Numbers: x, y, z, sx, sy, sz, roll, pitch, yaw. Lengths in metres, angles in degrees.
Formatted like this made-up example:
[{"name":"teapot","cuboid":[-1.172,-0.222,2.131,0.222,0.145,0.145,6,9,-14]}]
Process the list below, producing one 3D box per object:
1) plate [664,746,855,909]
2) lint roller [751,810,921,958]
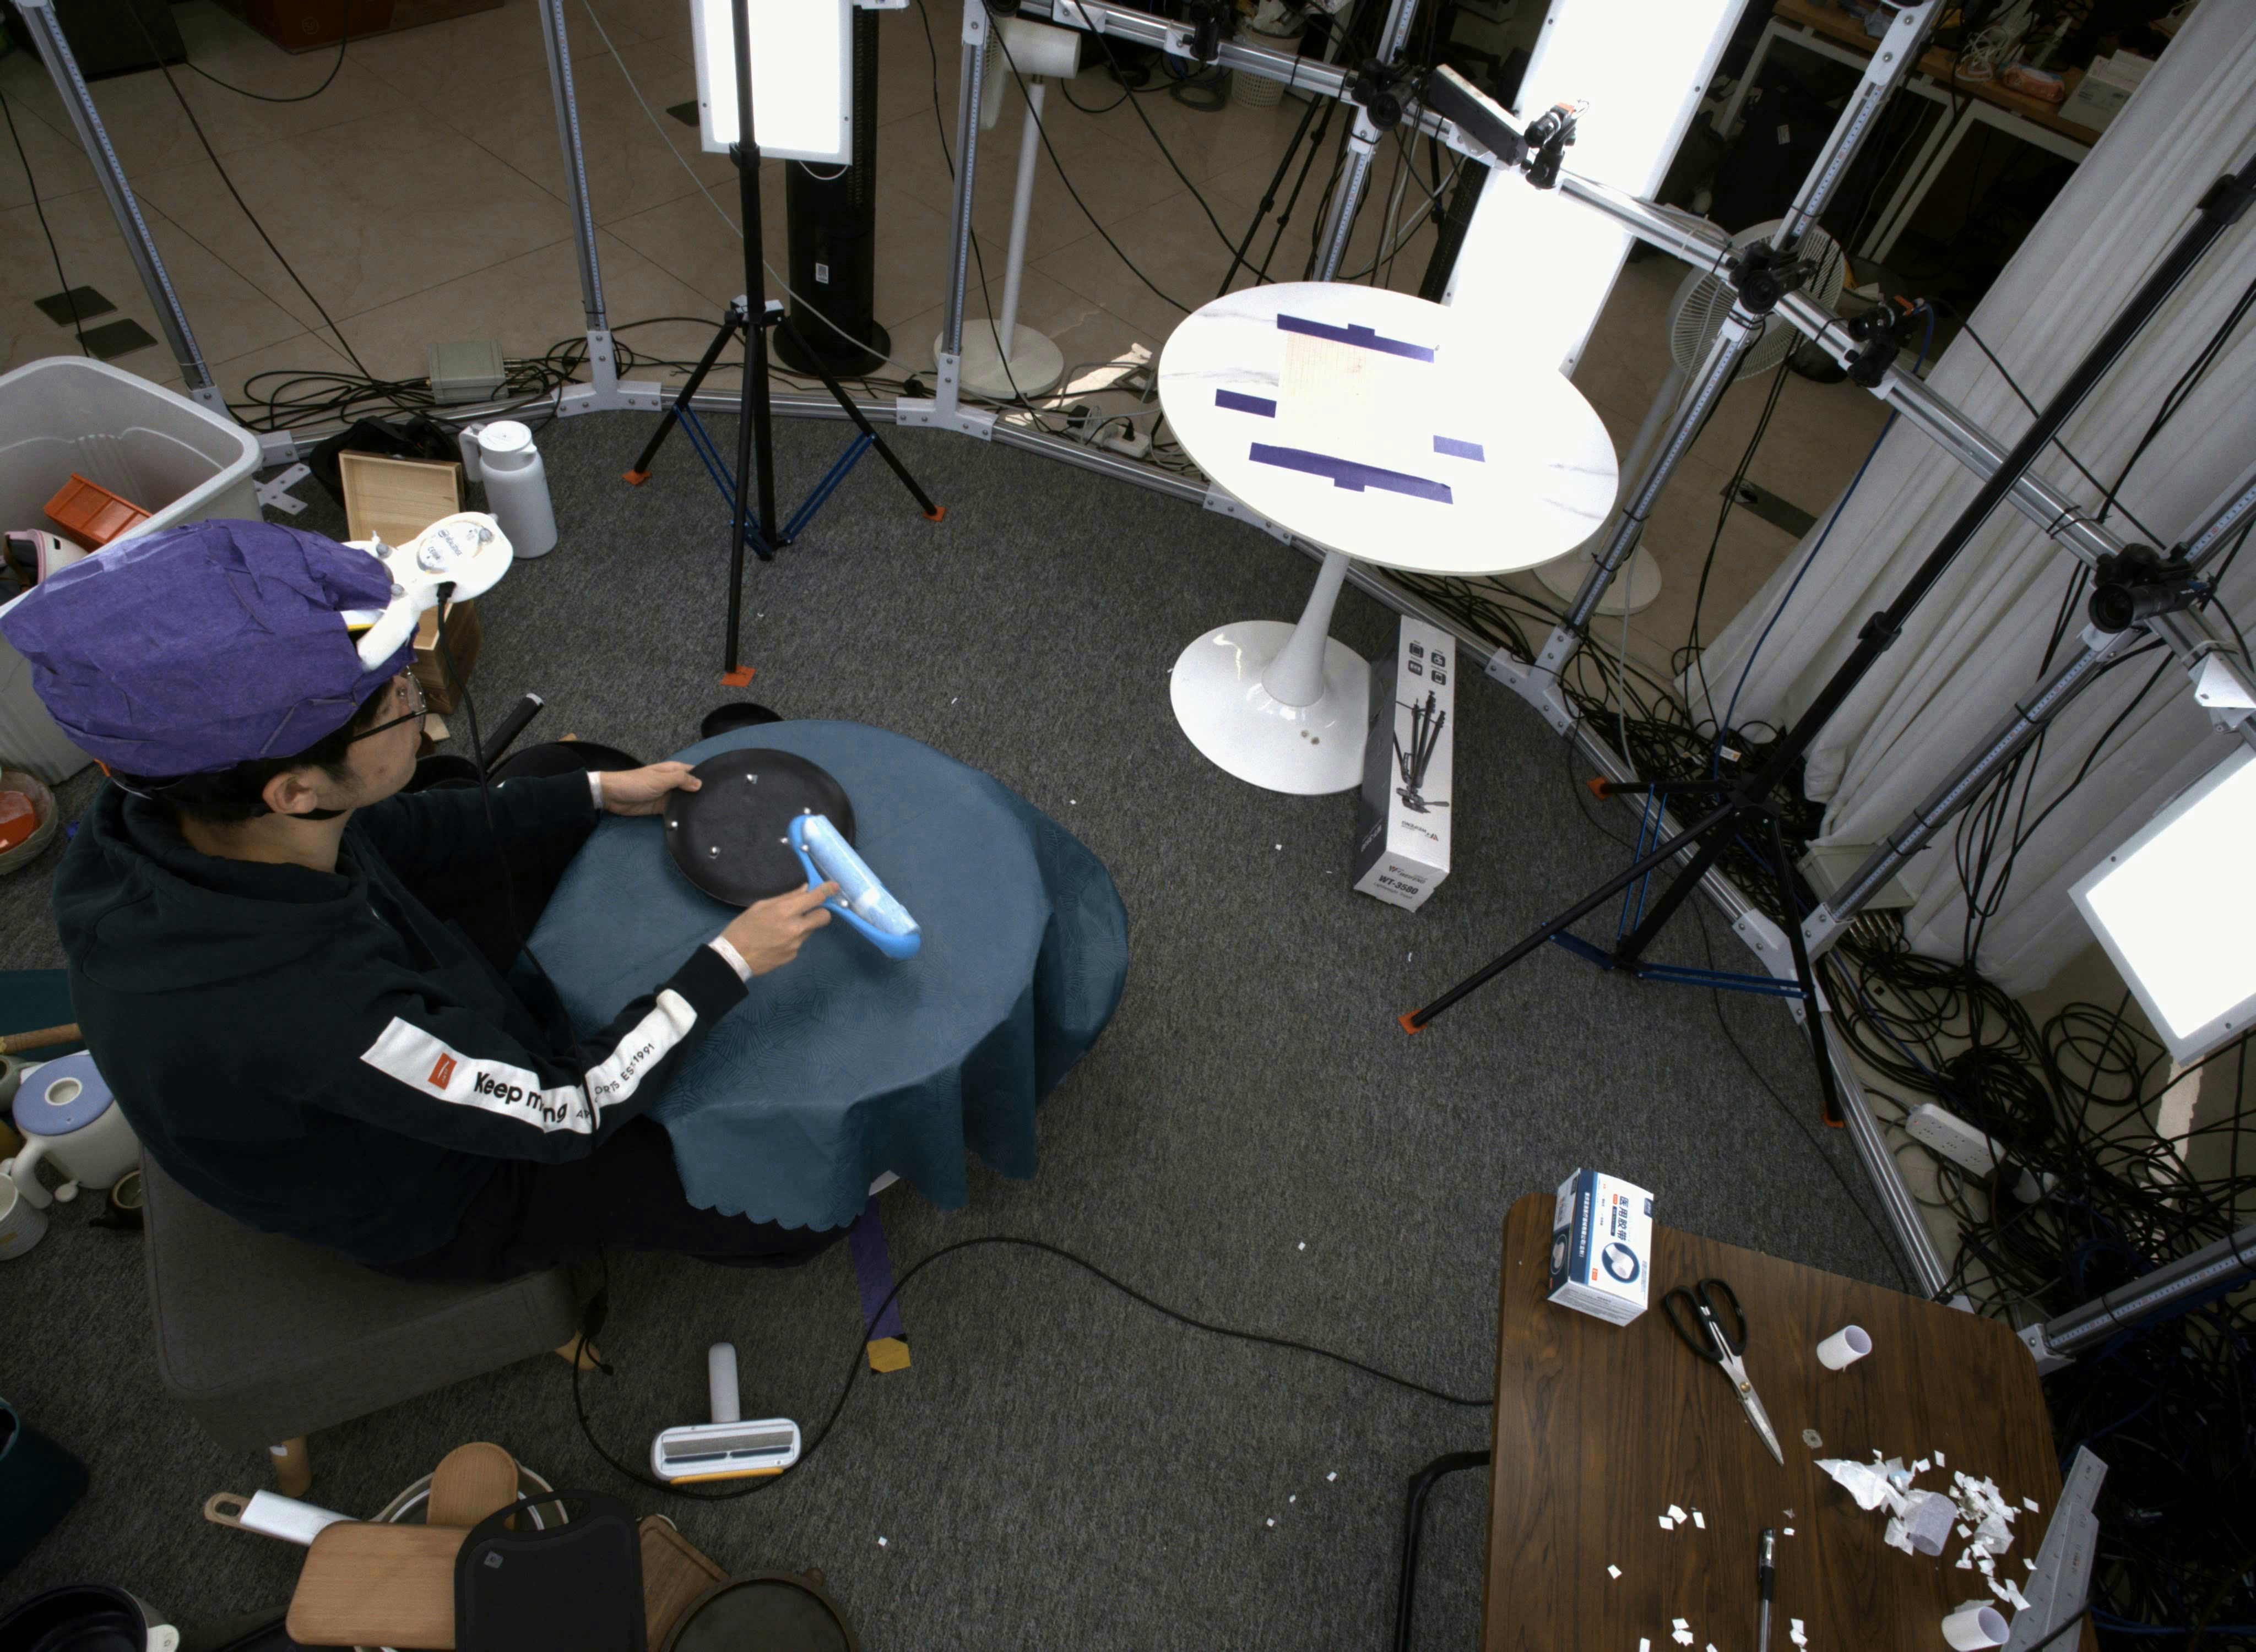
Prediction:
[{"name":"plate","cuboid":[-0.478,0.002,1.684,0.245,0.023,0.241,10,57,-15]},{"name":"lint roller","cuboid":[-0.374,0.093,1.563,0.227,0.068,0.180,45,52,7]}]
